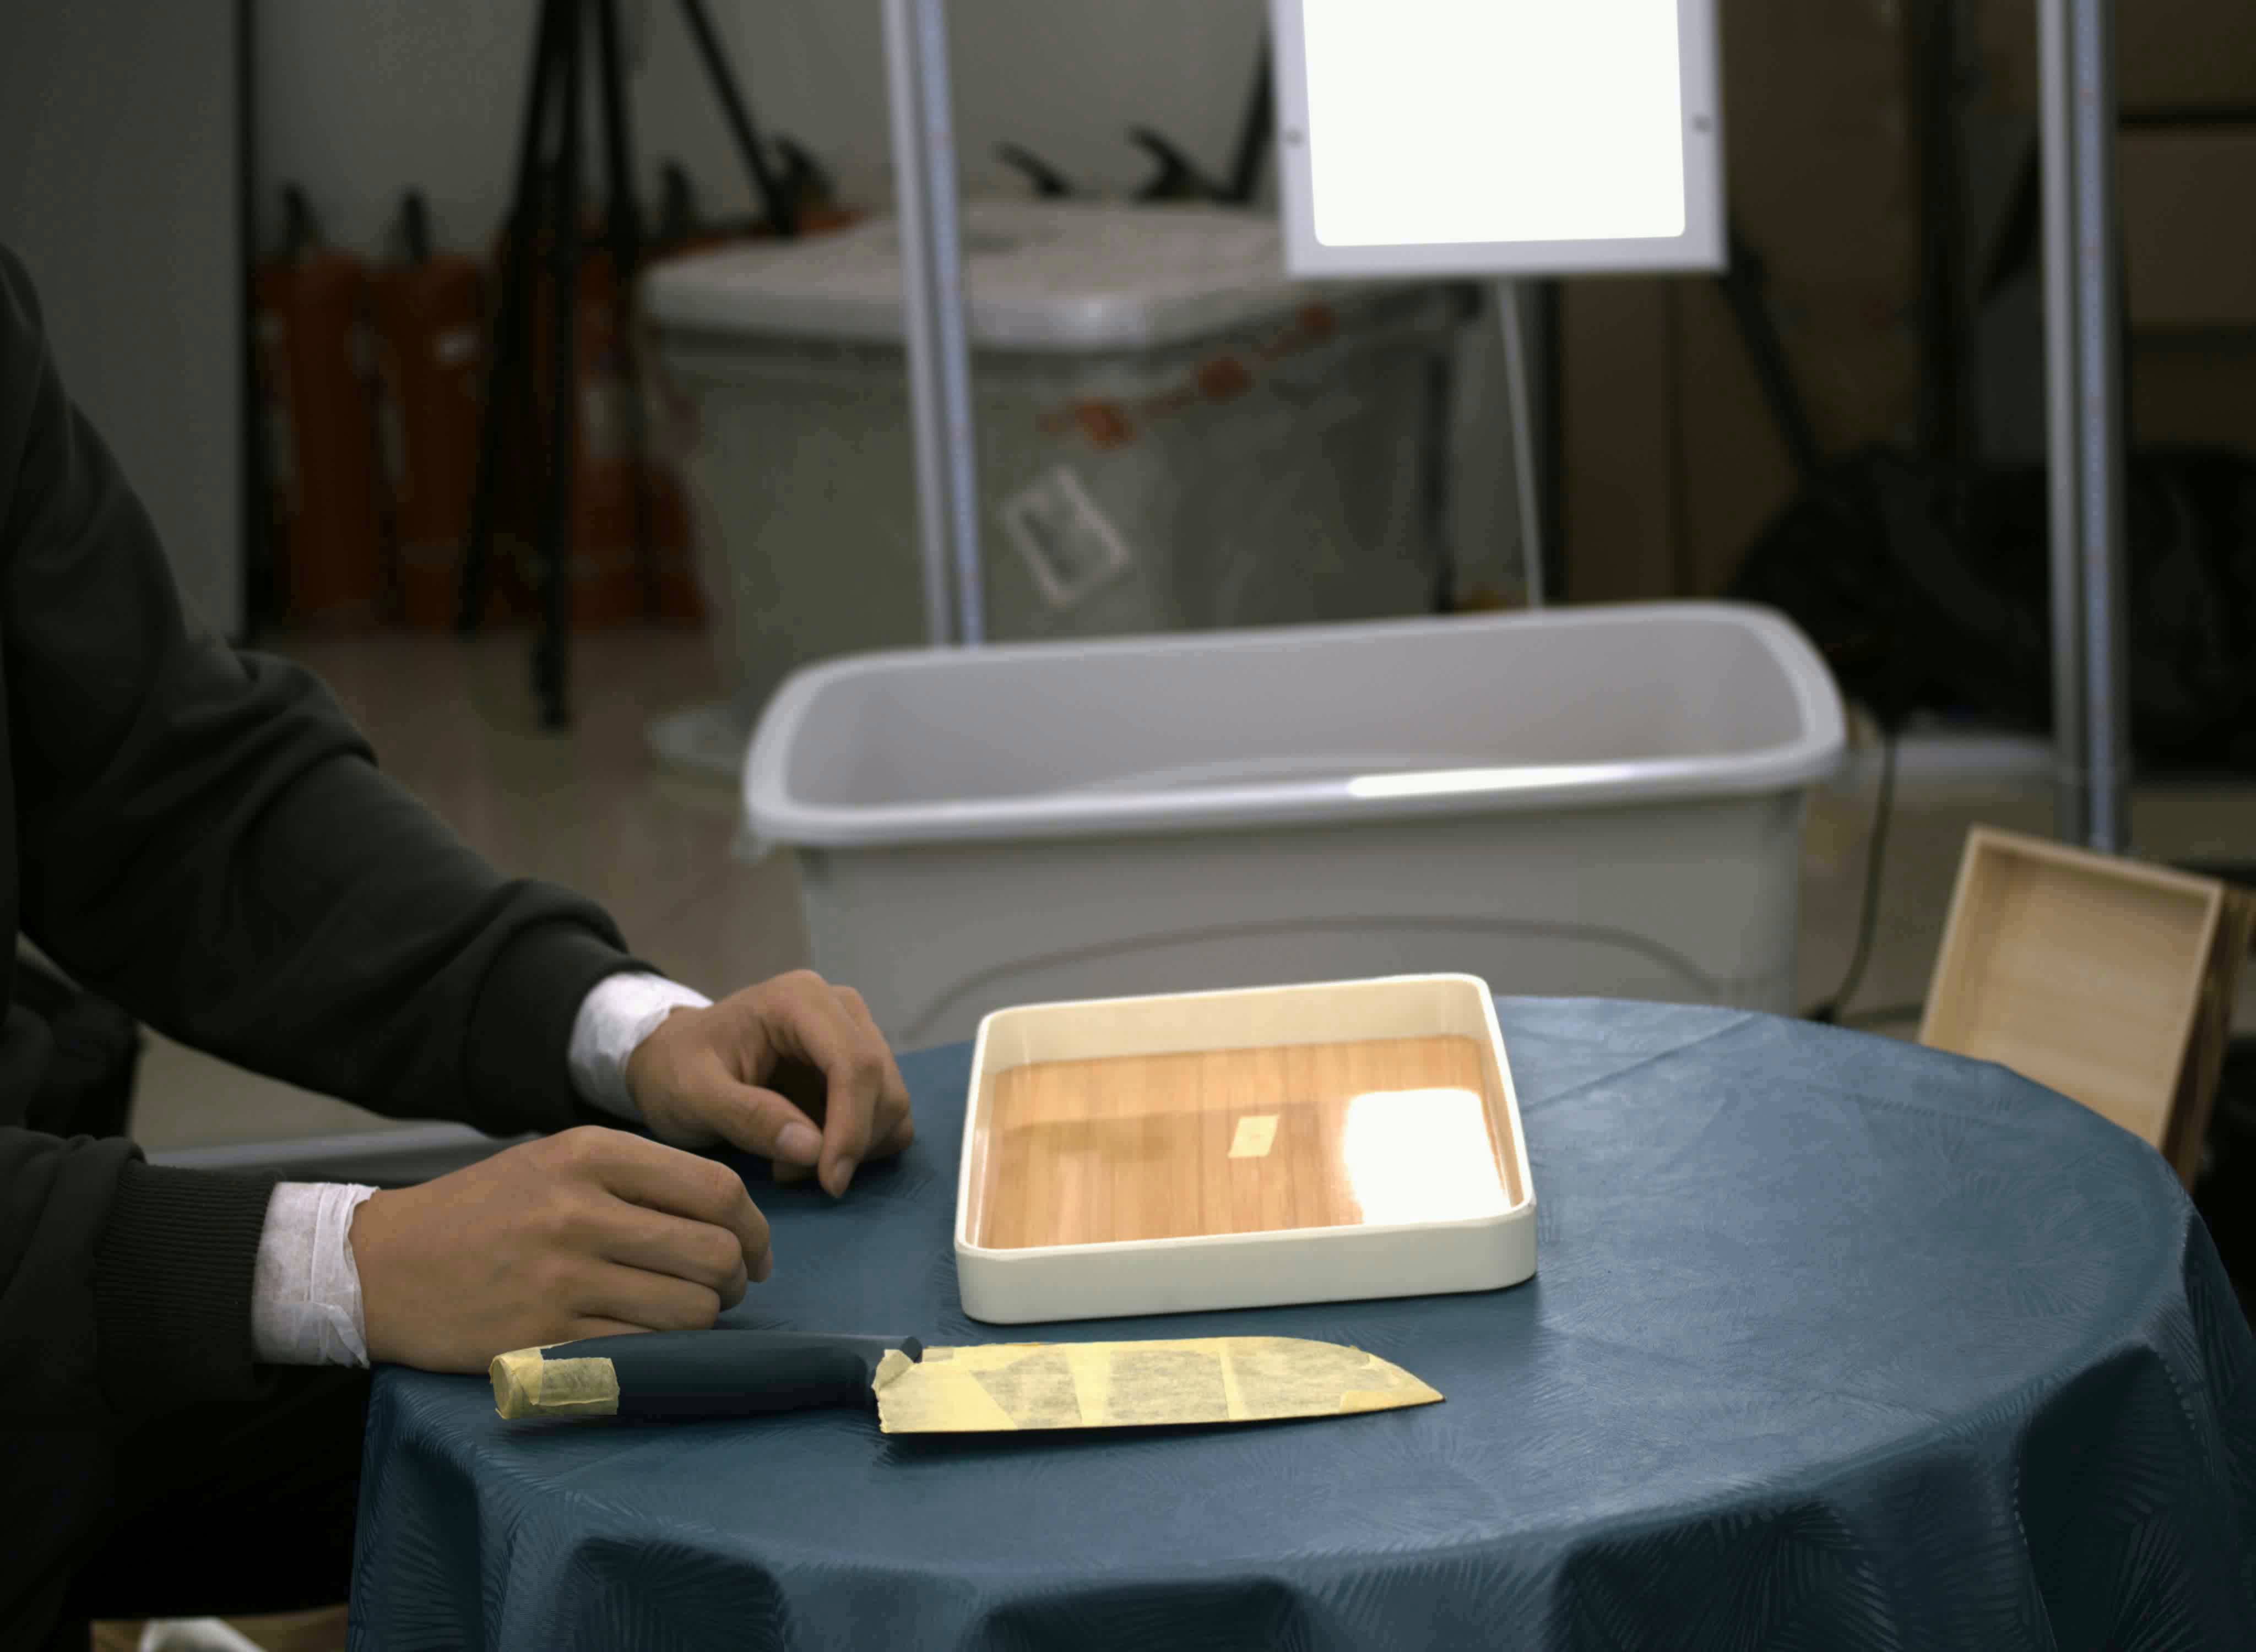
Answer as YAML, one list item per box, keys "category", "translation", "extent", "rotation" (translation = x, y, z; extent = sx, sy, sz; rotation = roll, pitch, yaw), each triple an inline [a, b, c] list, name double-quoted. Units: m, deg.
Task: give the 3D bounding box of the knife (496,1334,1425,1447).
- category: "knife"
  translation: [-0.052, 0.175, 1.695]
  extent: [0.289, 0.027, 0.080]
  rotation: [-3, 12, 4]

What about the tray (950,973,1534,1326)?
- category: "tray"
  translation: [0.038, 0.108, 1.908]
  extent: [0.191, 0.027, 0.299]
  rotation: [-5, 13, 3]
